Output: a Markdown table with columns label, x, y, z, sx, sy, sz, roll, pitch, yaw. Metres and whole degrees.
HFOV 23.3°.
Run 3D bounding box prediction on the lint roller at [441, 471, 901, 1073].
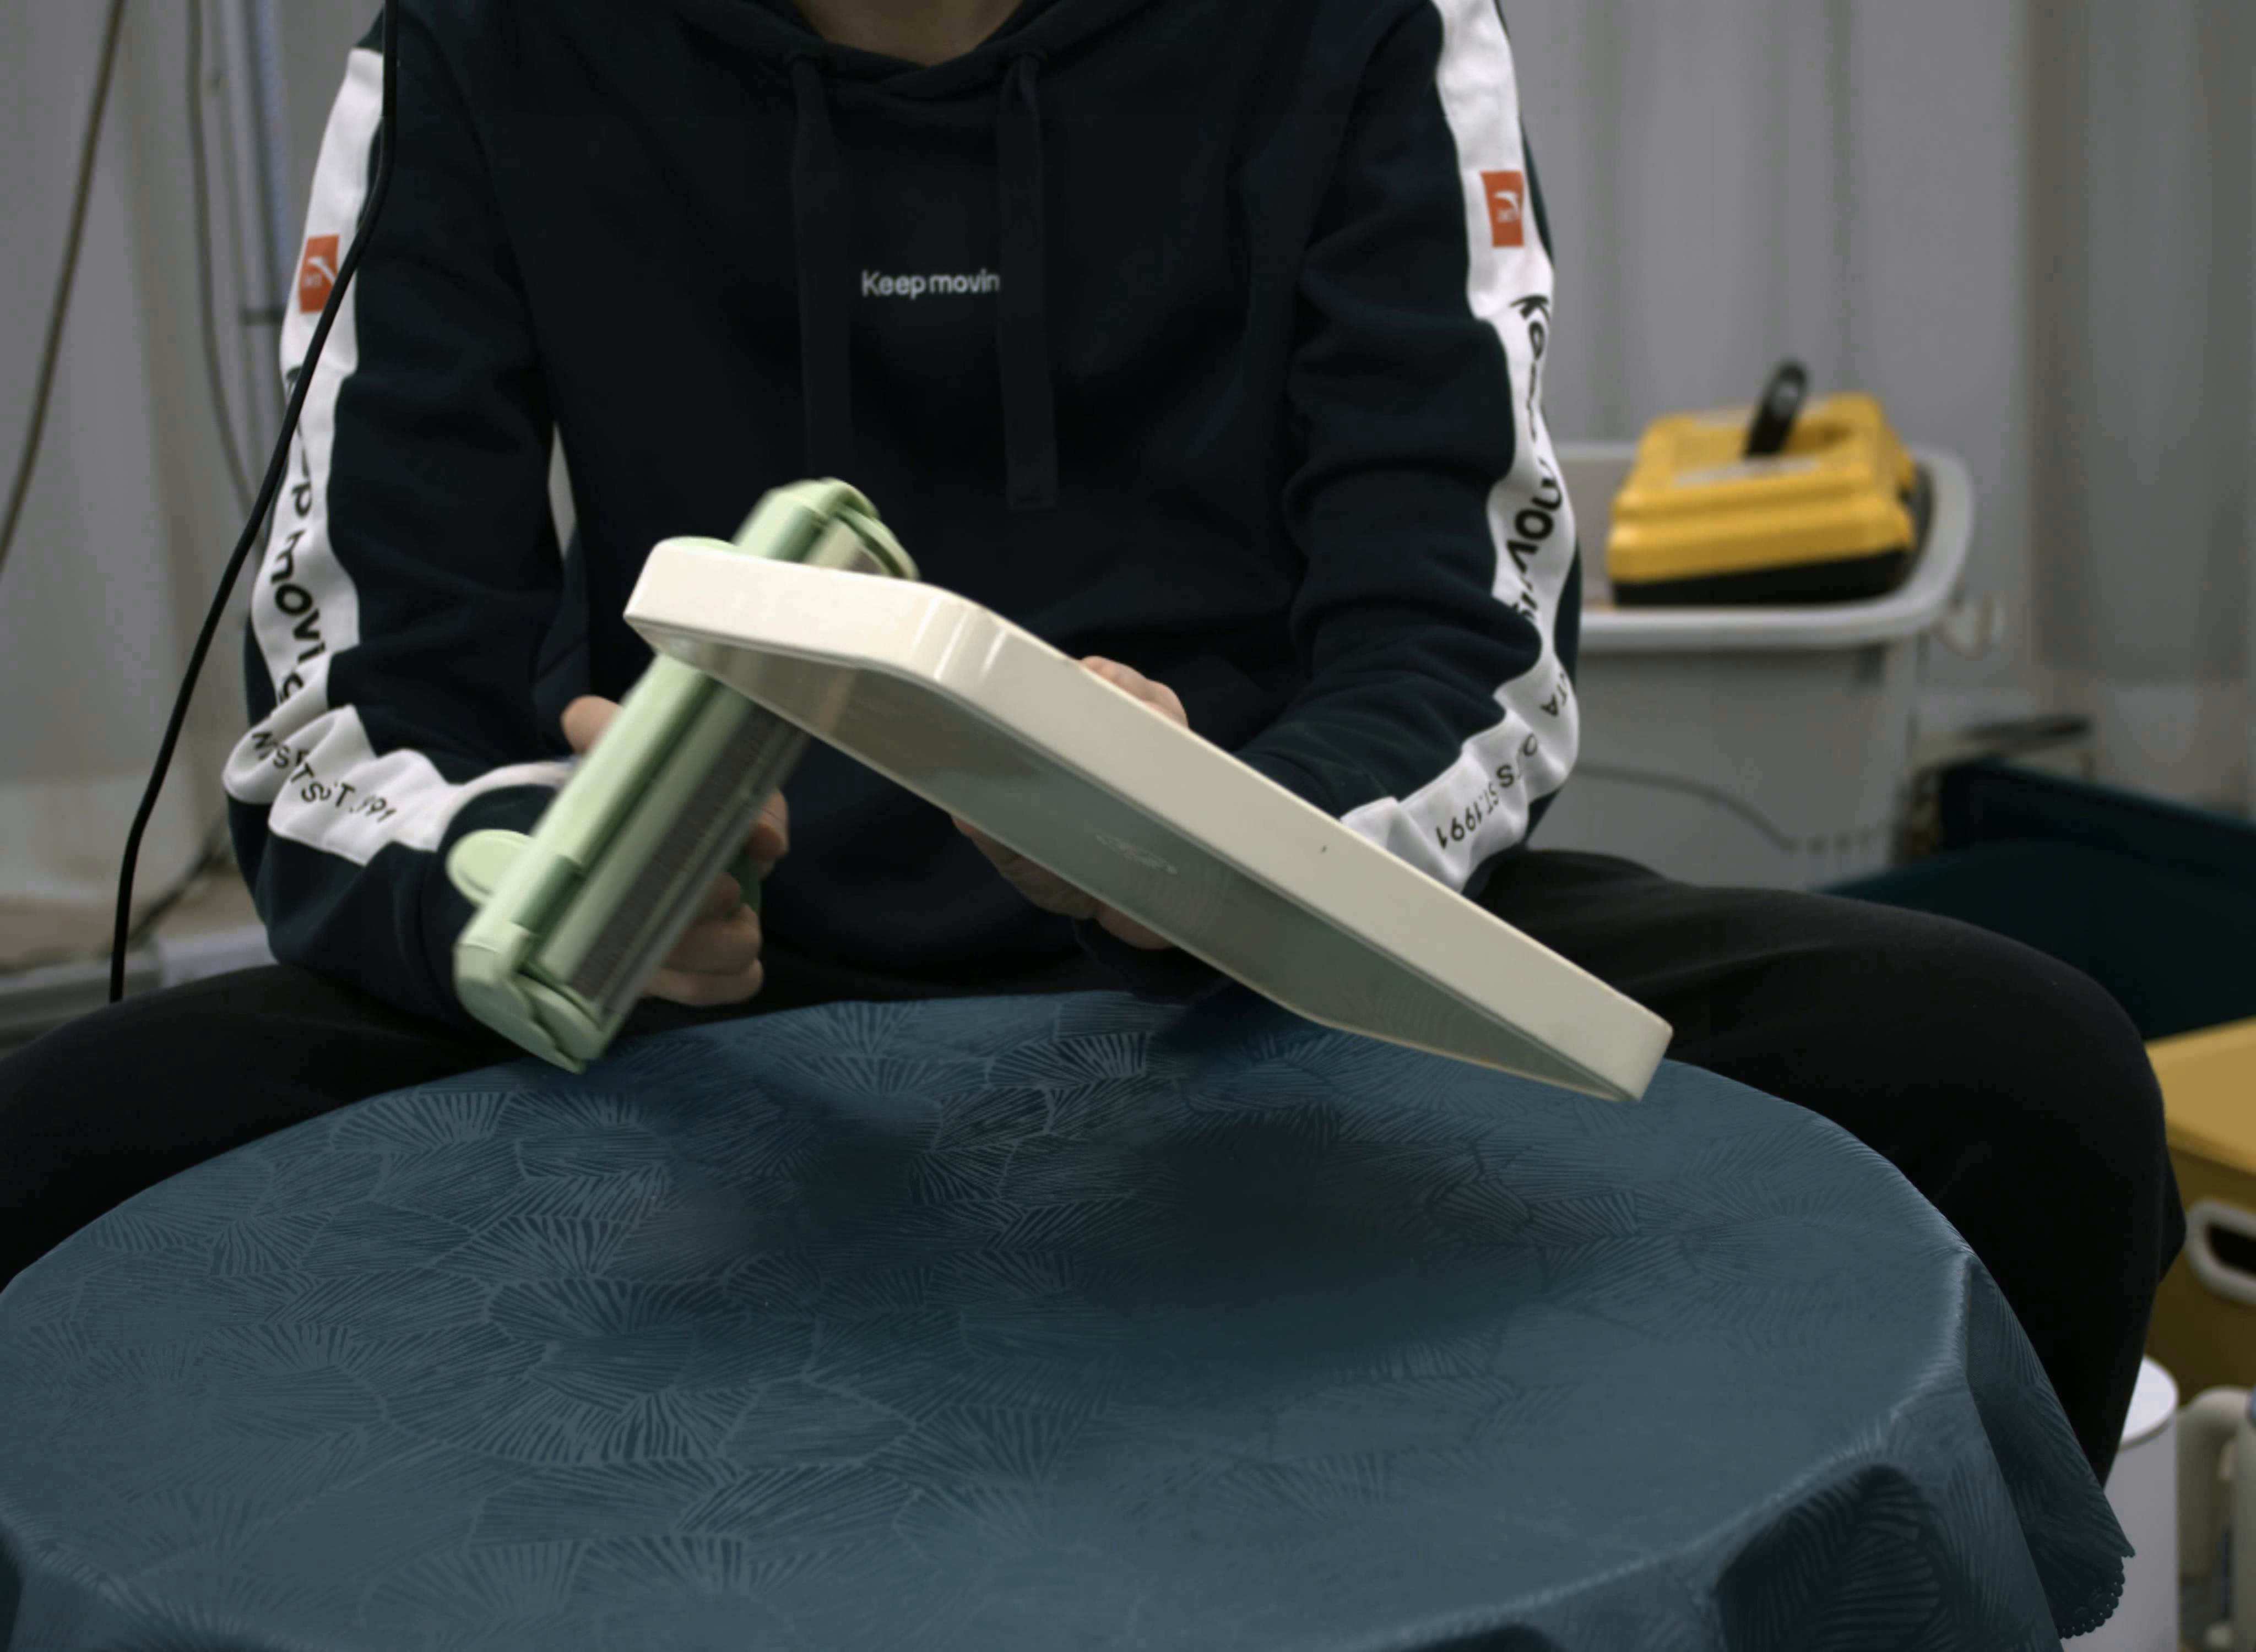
| label | x | y | z | sx | sy | sz | roll | pitch | yaw |
| --- | --- | --- | --- | --- | --- | --- | --- | --- | --- |
| lint roller | -0.151 | -0.005 | 1.733 | 0.082 | 0.200 | 0.182 | 31 | -20 | 2 |

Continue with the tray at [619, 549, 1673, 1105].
| label | x | y | z | sx | sy | sz | roll | pitch | yaw |
| --- | --- | --- | --- | --- | --- | --- | --- | --- | --- |
| tray | 0.005 | 0.002 | 1.635 | 0.297 | 0.027 | 0.192 | 31 | -11 | -31 |
